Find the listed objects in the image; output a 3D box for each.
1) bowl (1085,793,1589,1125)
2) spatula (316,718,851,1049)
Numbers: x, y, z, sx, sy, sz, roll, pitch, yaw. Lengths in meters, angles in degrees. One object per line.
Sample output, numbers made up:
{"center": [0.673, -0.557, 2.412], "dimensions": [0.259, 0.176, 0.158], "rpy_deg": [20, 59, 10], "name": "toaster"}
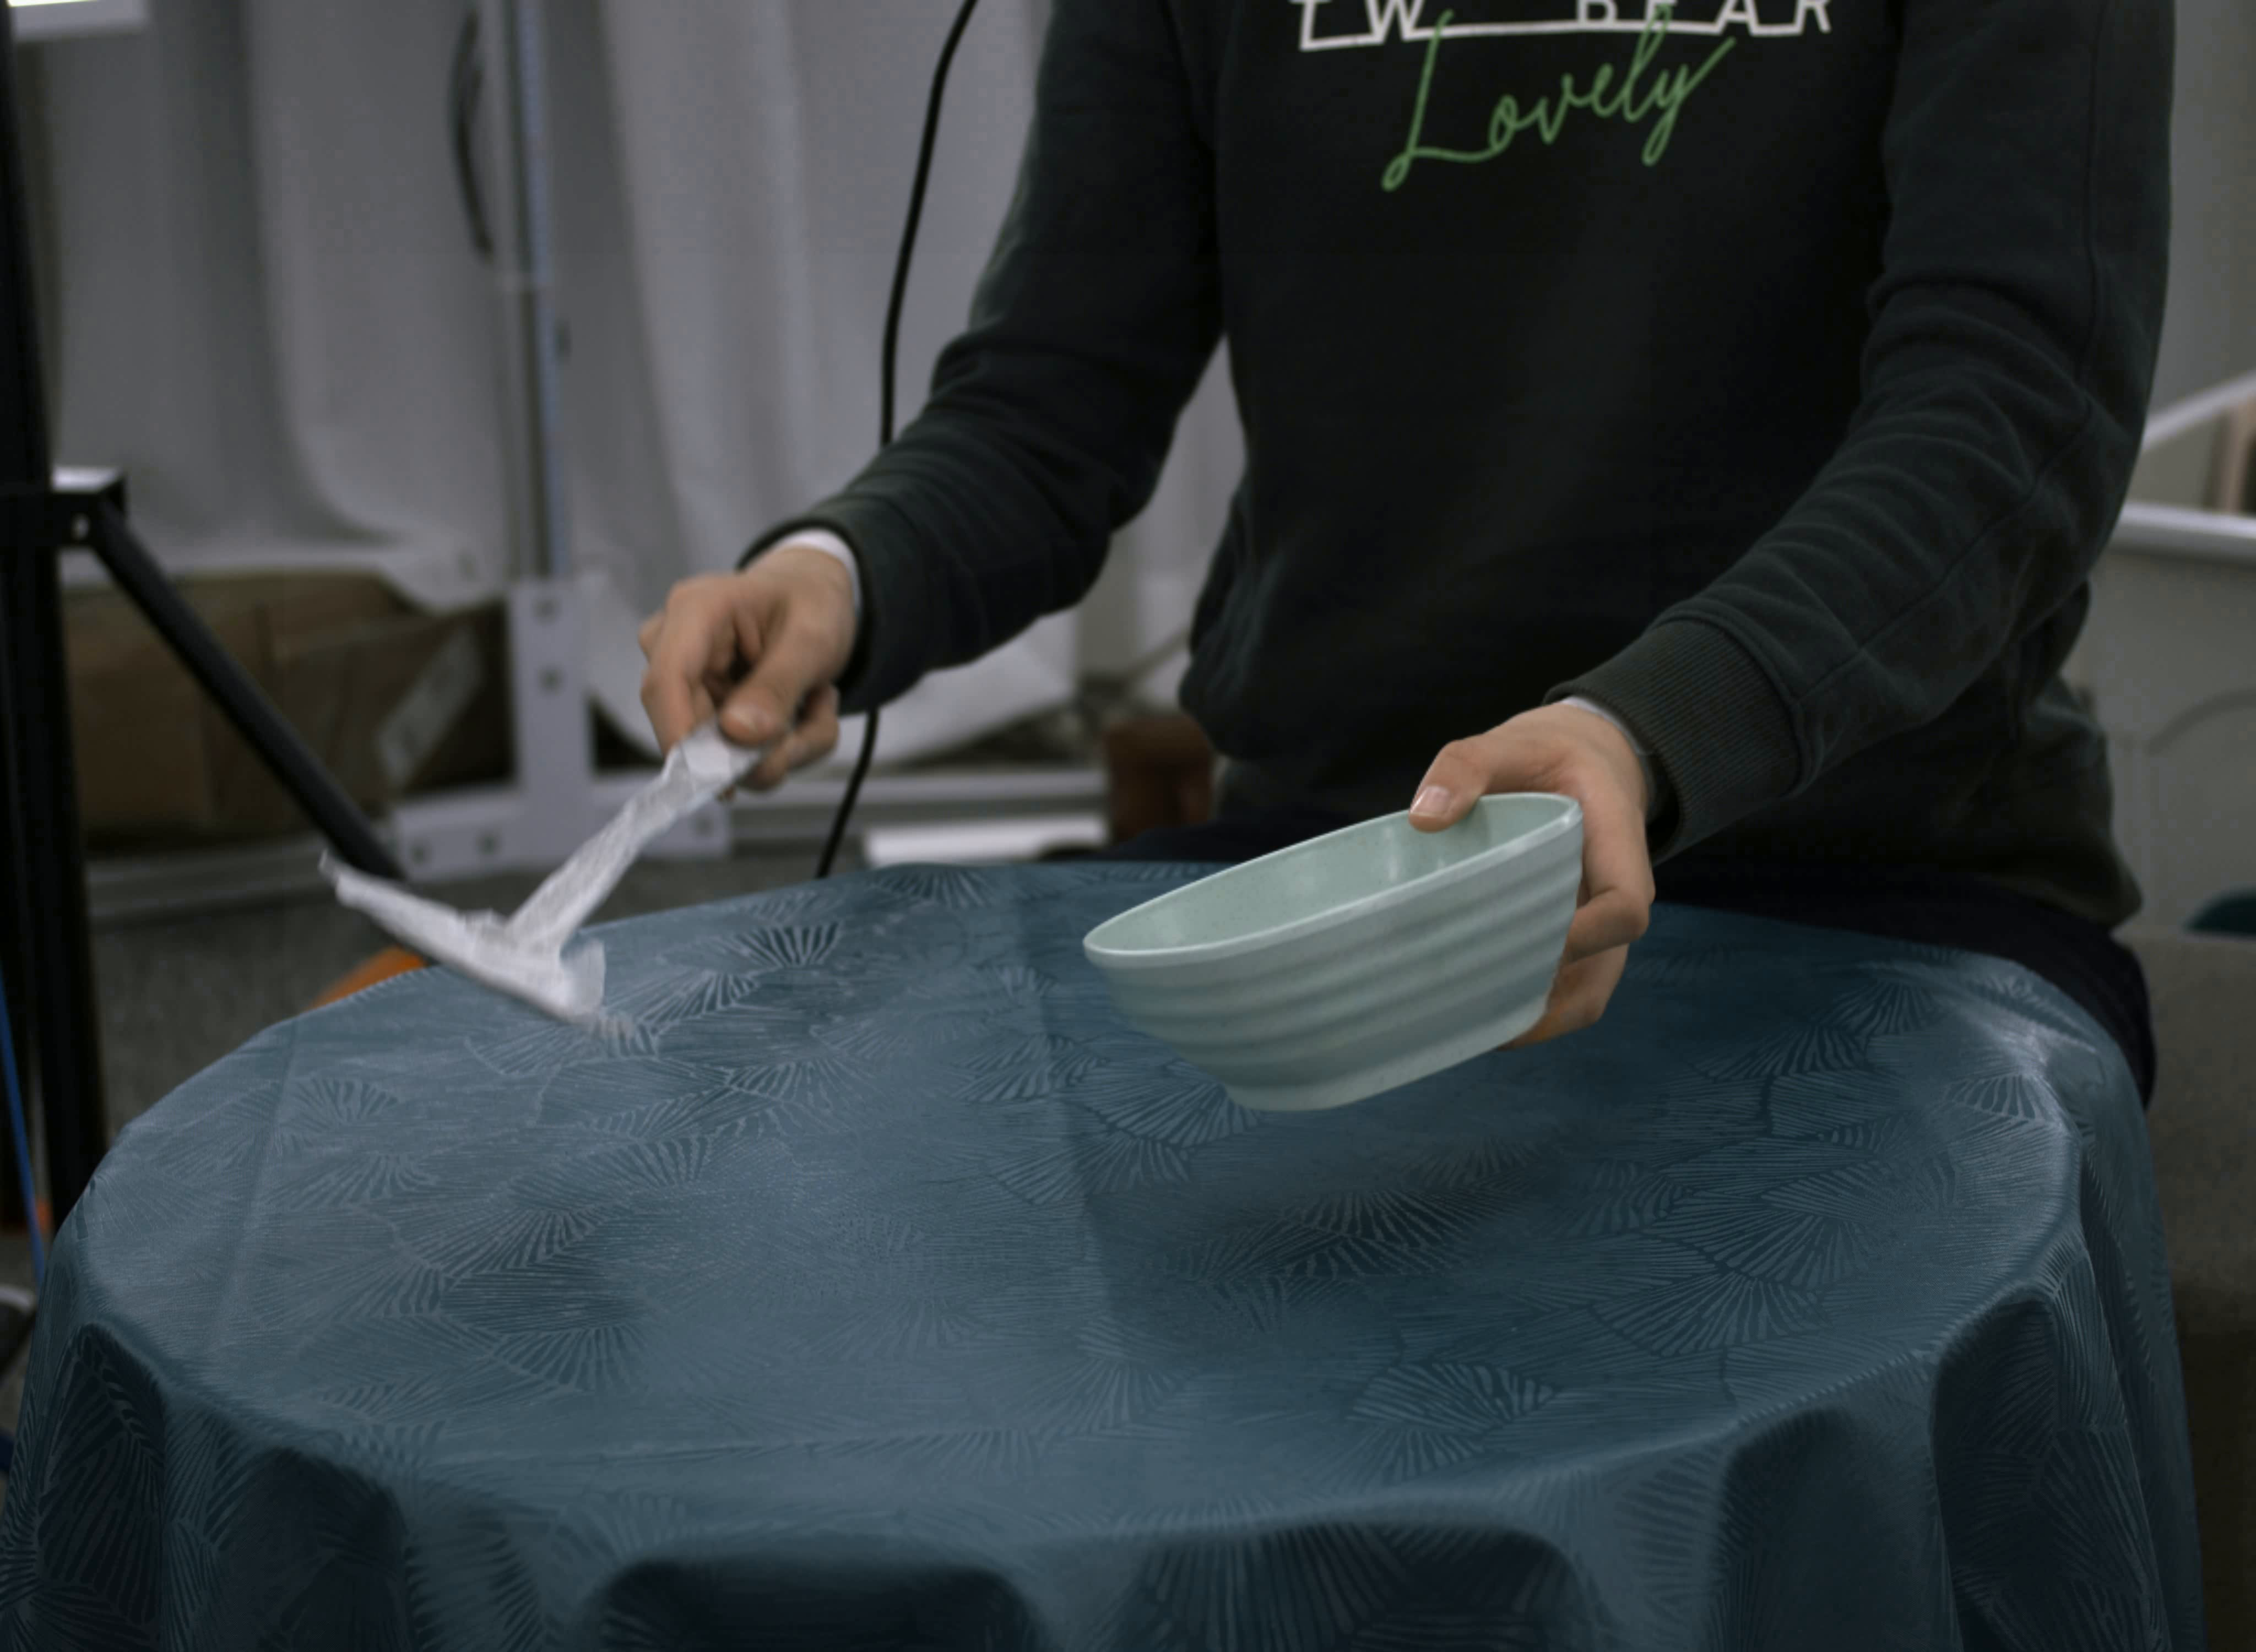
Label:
{"center": [0.066, 0.042, 1.504], "dimensions": [0.151, 0.058, 0.152], "rpy_deg": [-17, 10, 2], "name": "bowl"}
{"center": [-0.144, 0.003, 1.625], "dimensions": [0.099, 0.045, 0.362], "rpy_deg": [26, 22, 7], "name": "spatula"}
